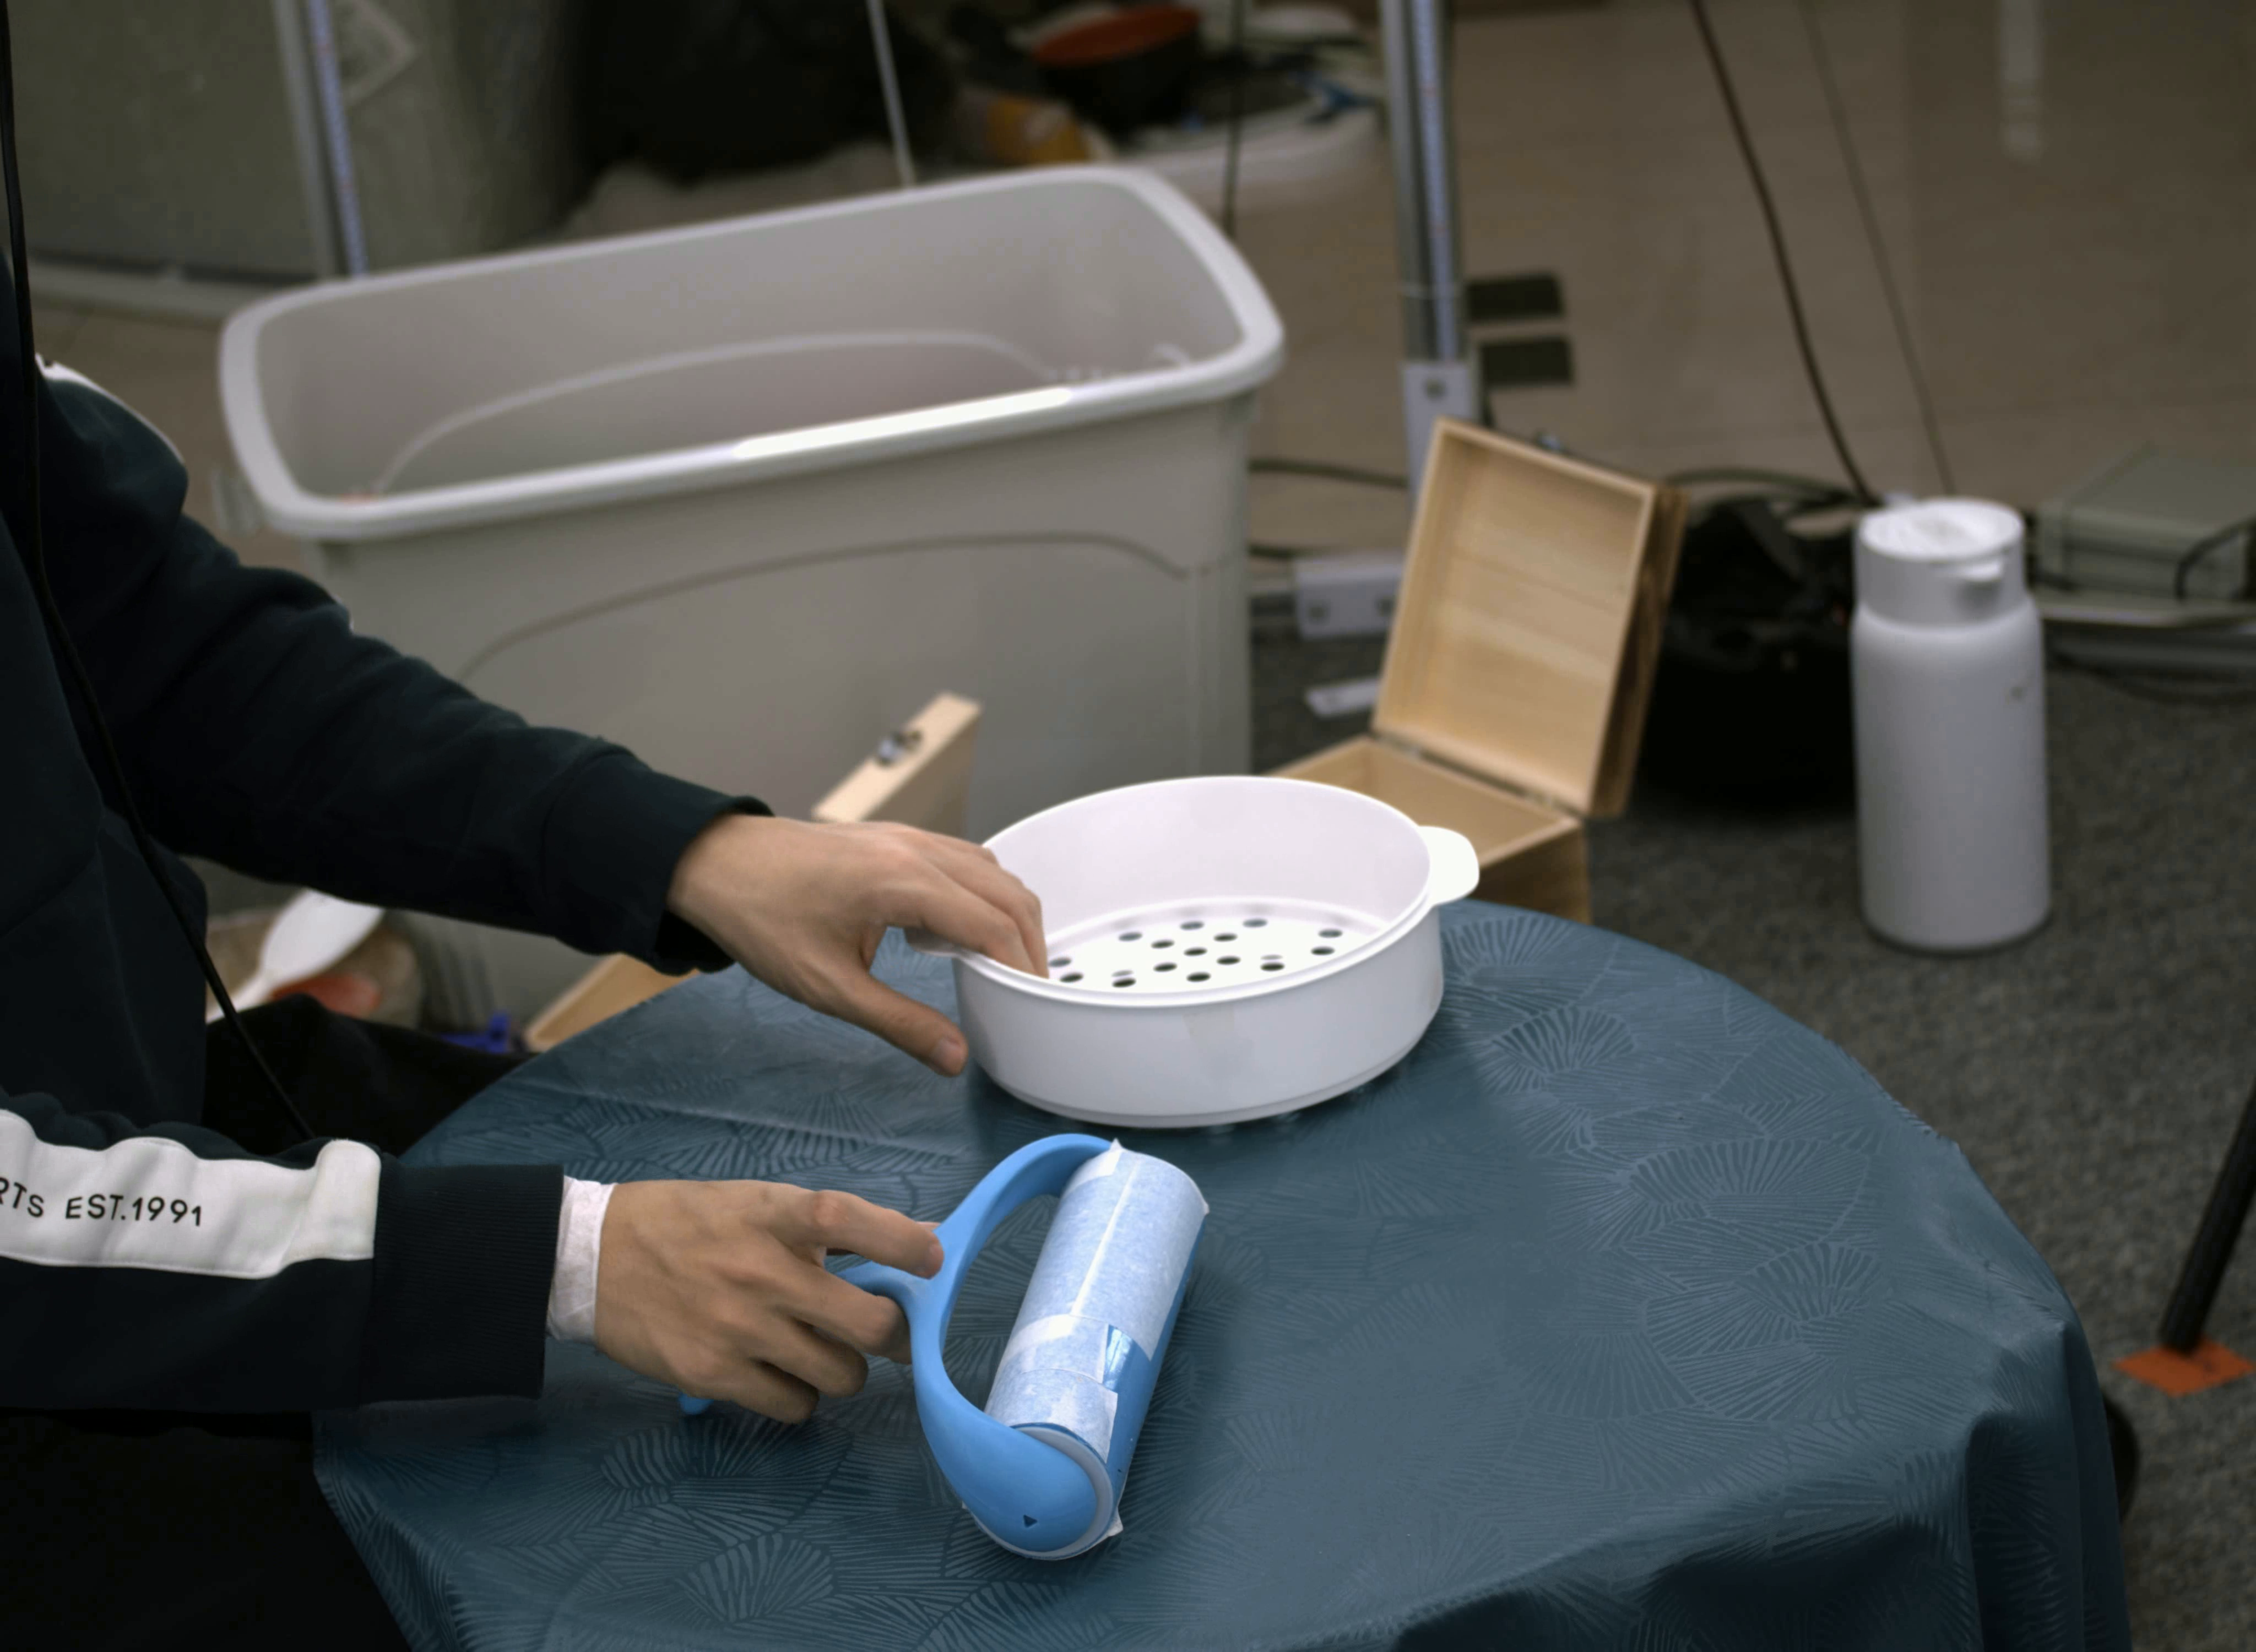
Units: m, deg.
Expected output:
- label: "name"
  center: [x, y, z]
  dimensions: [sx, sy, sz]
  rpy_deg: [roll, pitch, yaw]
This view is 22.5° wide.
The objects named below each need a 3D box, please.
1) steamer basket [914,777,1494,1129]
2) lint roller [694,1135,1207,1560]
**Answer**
- label: "steamer basket"
  center: [0.033, 0.050, 2.244]
  dimensions: [0.230, 0.070, 0.199]
  rpy_deg: [-7, 24, 1]
- label: "lint roller"
  center: [-0.069, 0.184, 1.998]
  dimensions: [0.180, 0.069, 0.225]
  rpy_deg: [-2, 27, 7]
